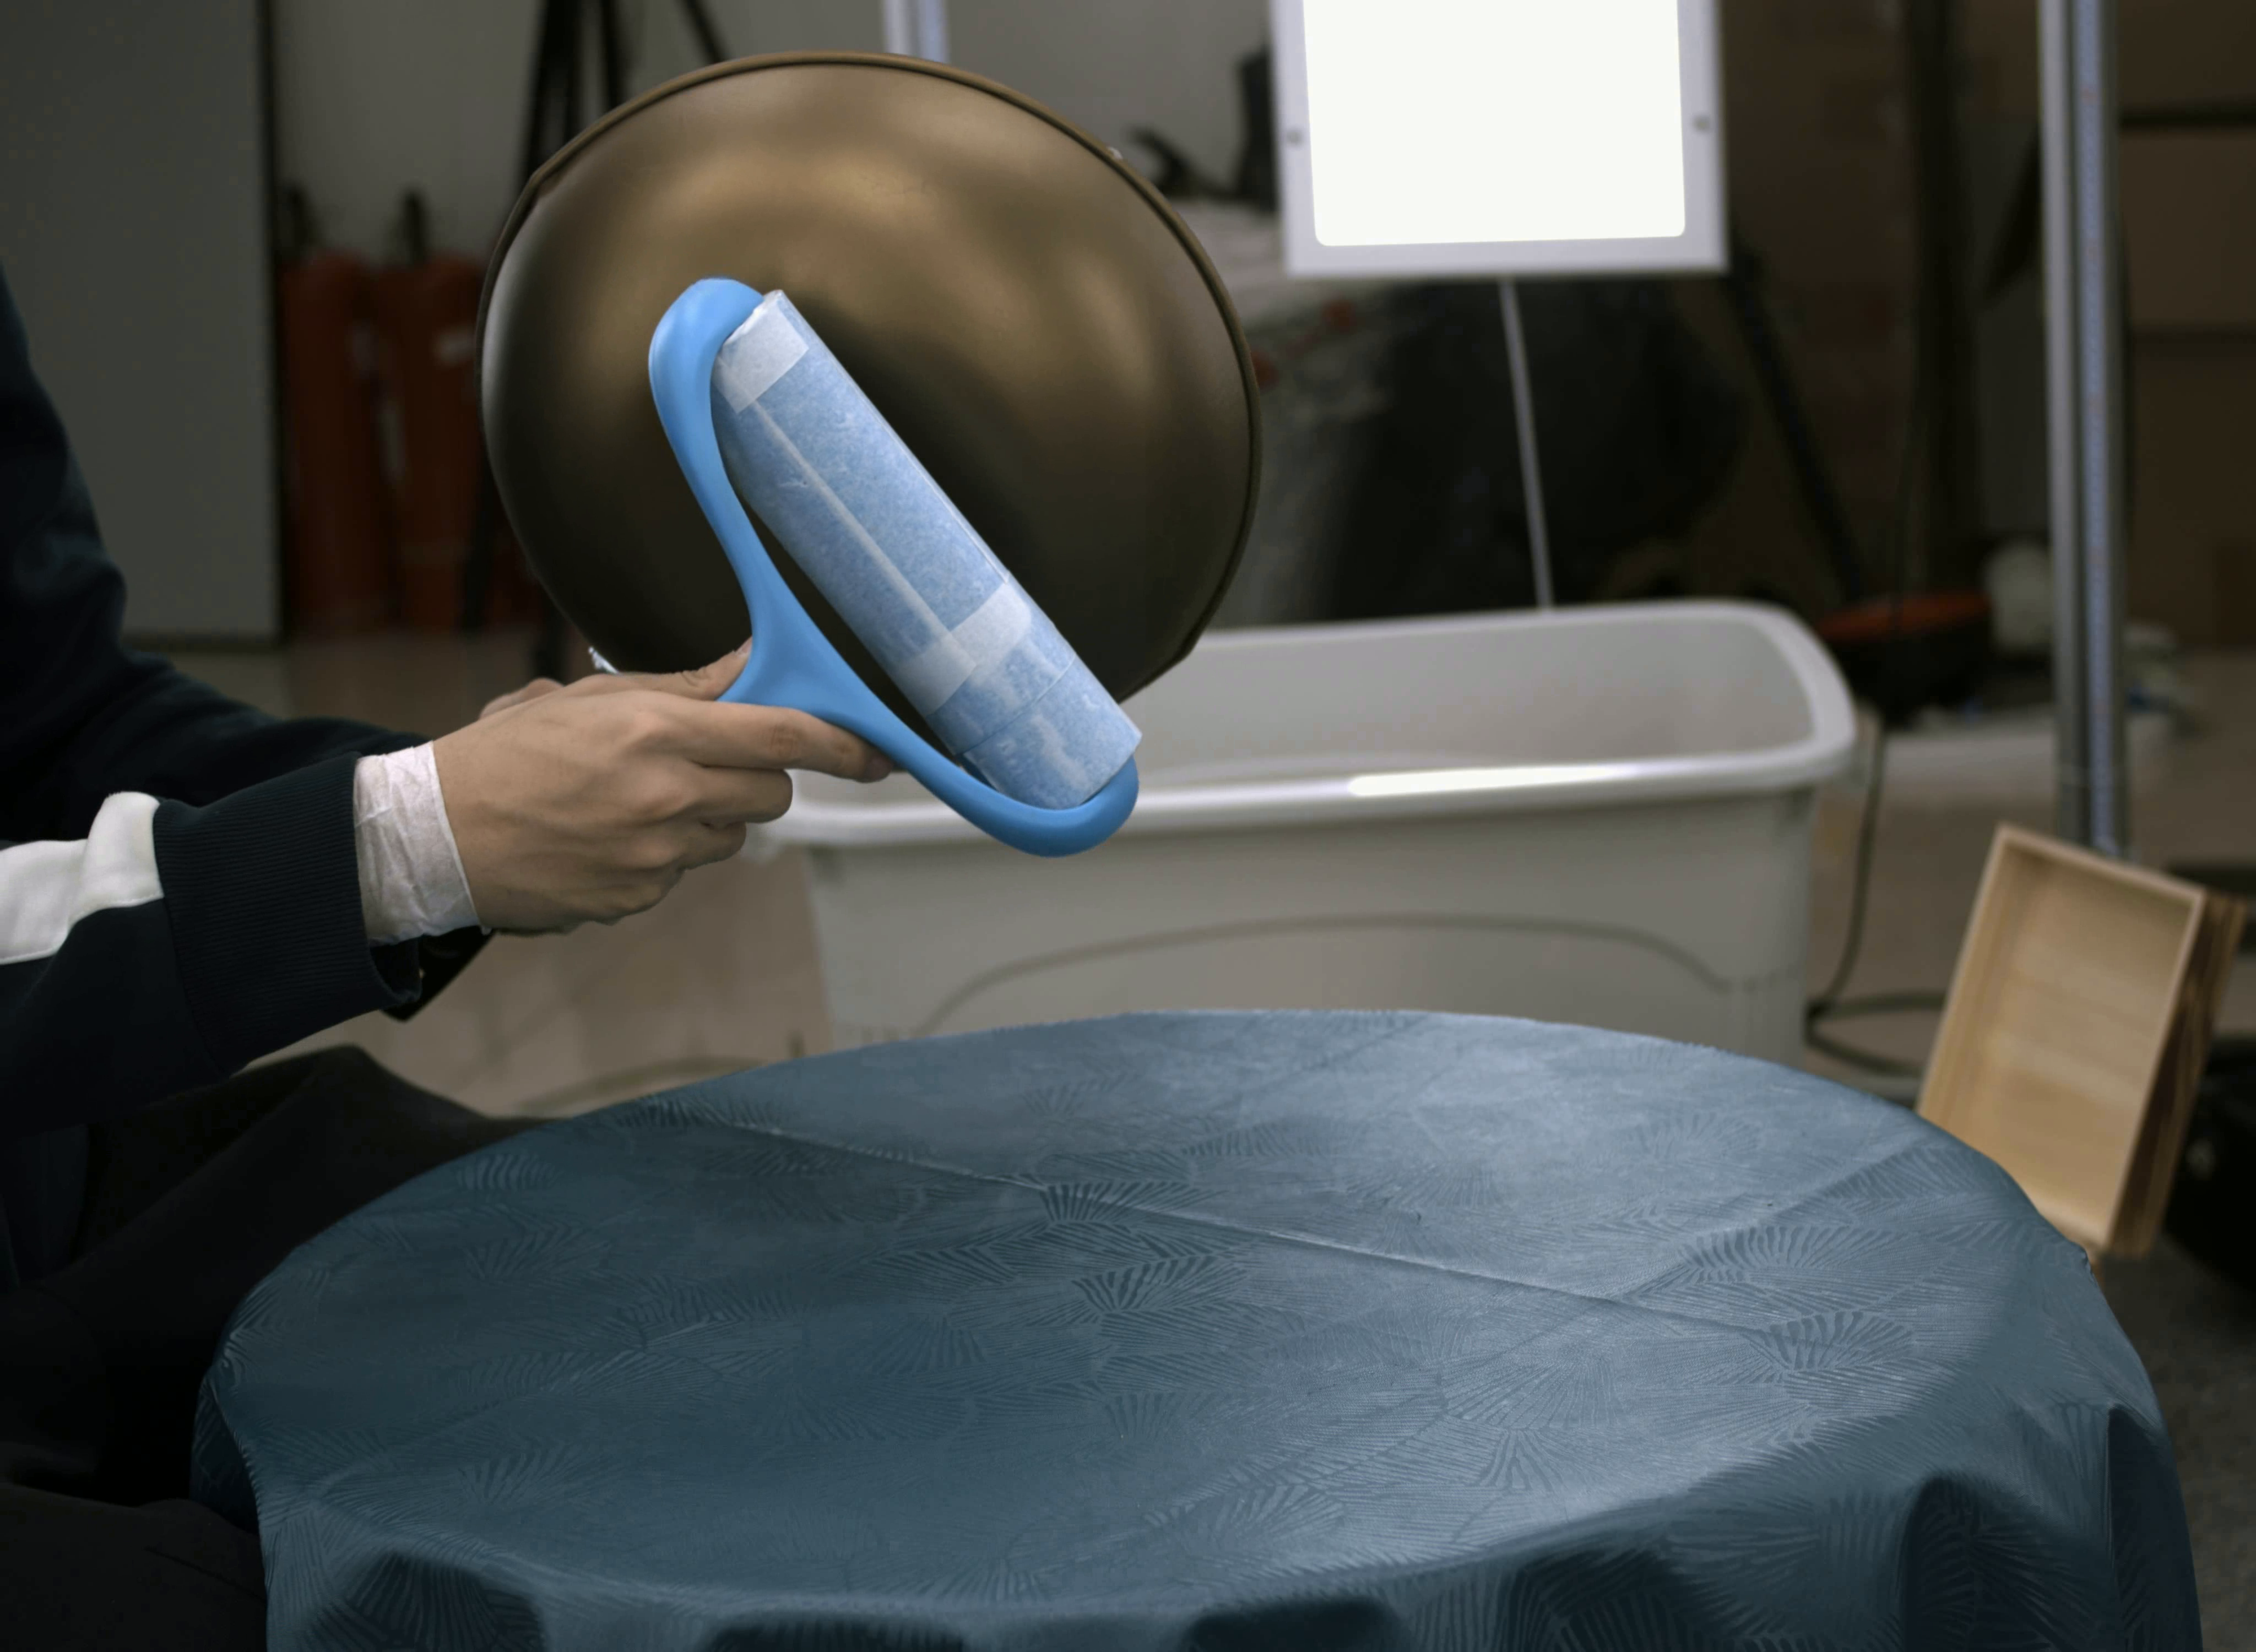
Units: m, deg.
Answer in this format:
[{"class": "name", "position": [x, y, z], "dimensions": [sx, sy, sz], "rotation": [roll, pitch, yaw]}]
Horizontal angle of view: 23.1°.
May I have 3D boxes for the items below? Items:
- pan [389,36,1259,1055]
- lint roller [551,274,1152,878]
[{"class": "pan", "position": [-0.150, -0.065, 1.947], "dimensions": [0.286, 0.471, 0.086], "rotation": [34, 30, -11]}, {"class": "lint roller", "position": [-0.112, -0.048, 1.800], "dimensions": [0.178, 0.228, 0.069], "rotation": [-46, 12, -14]}]
